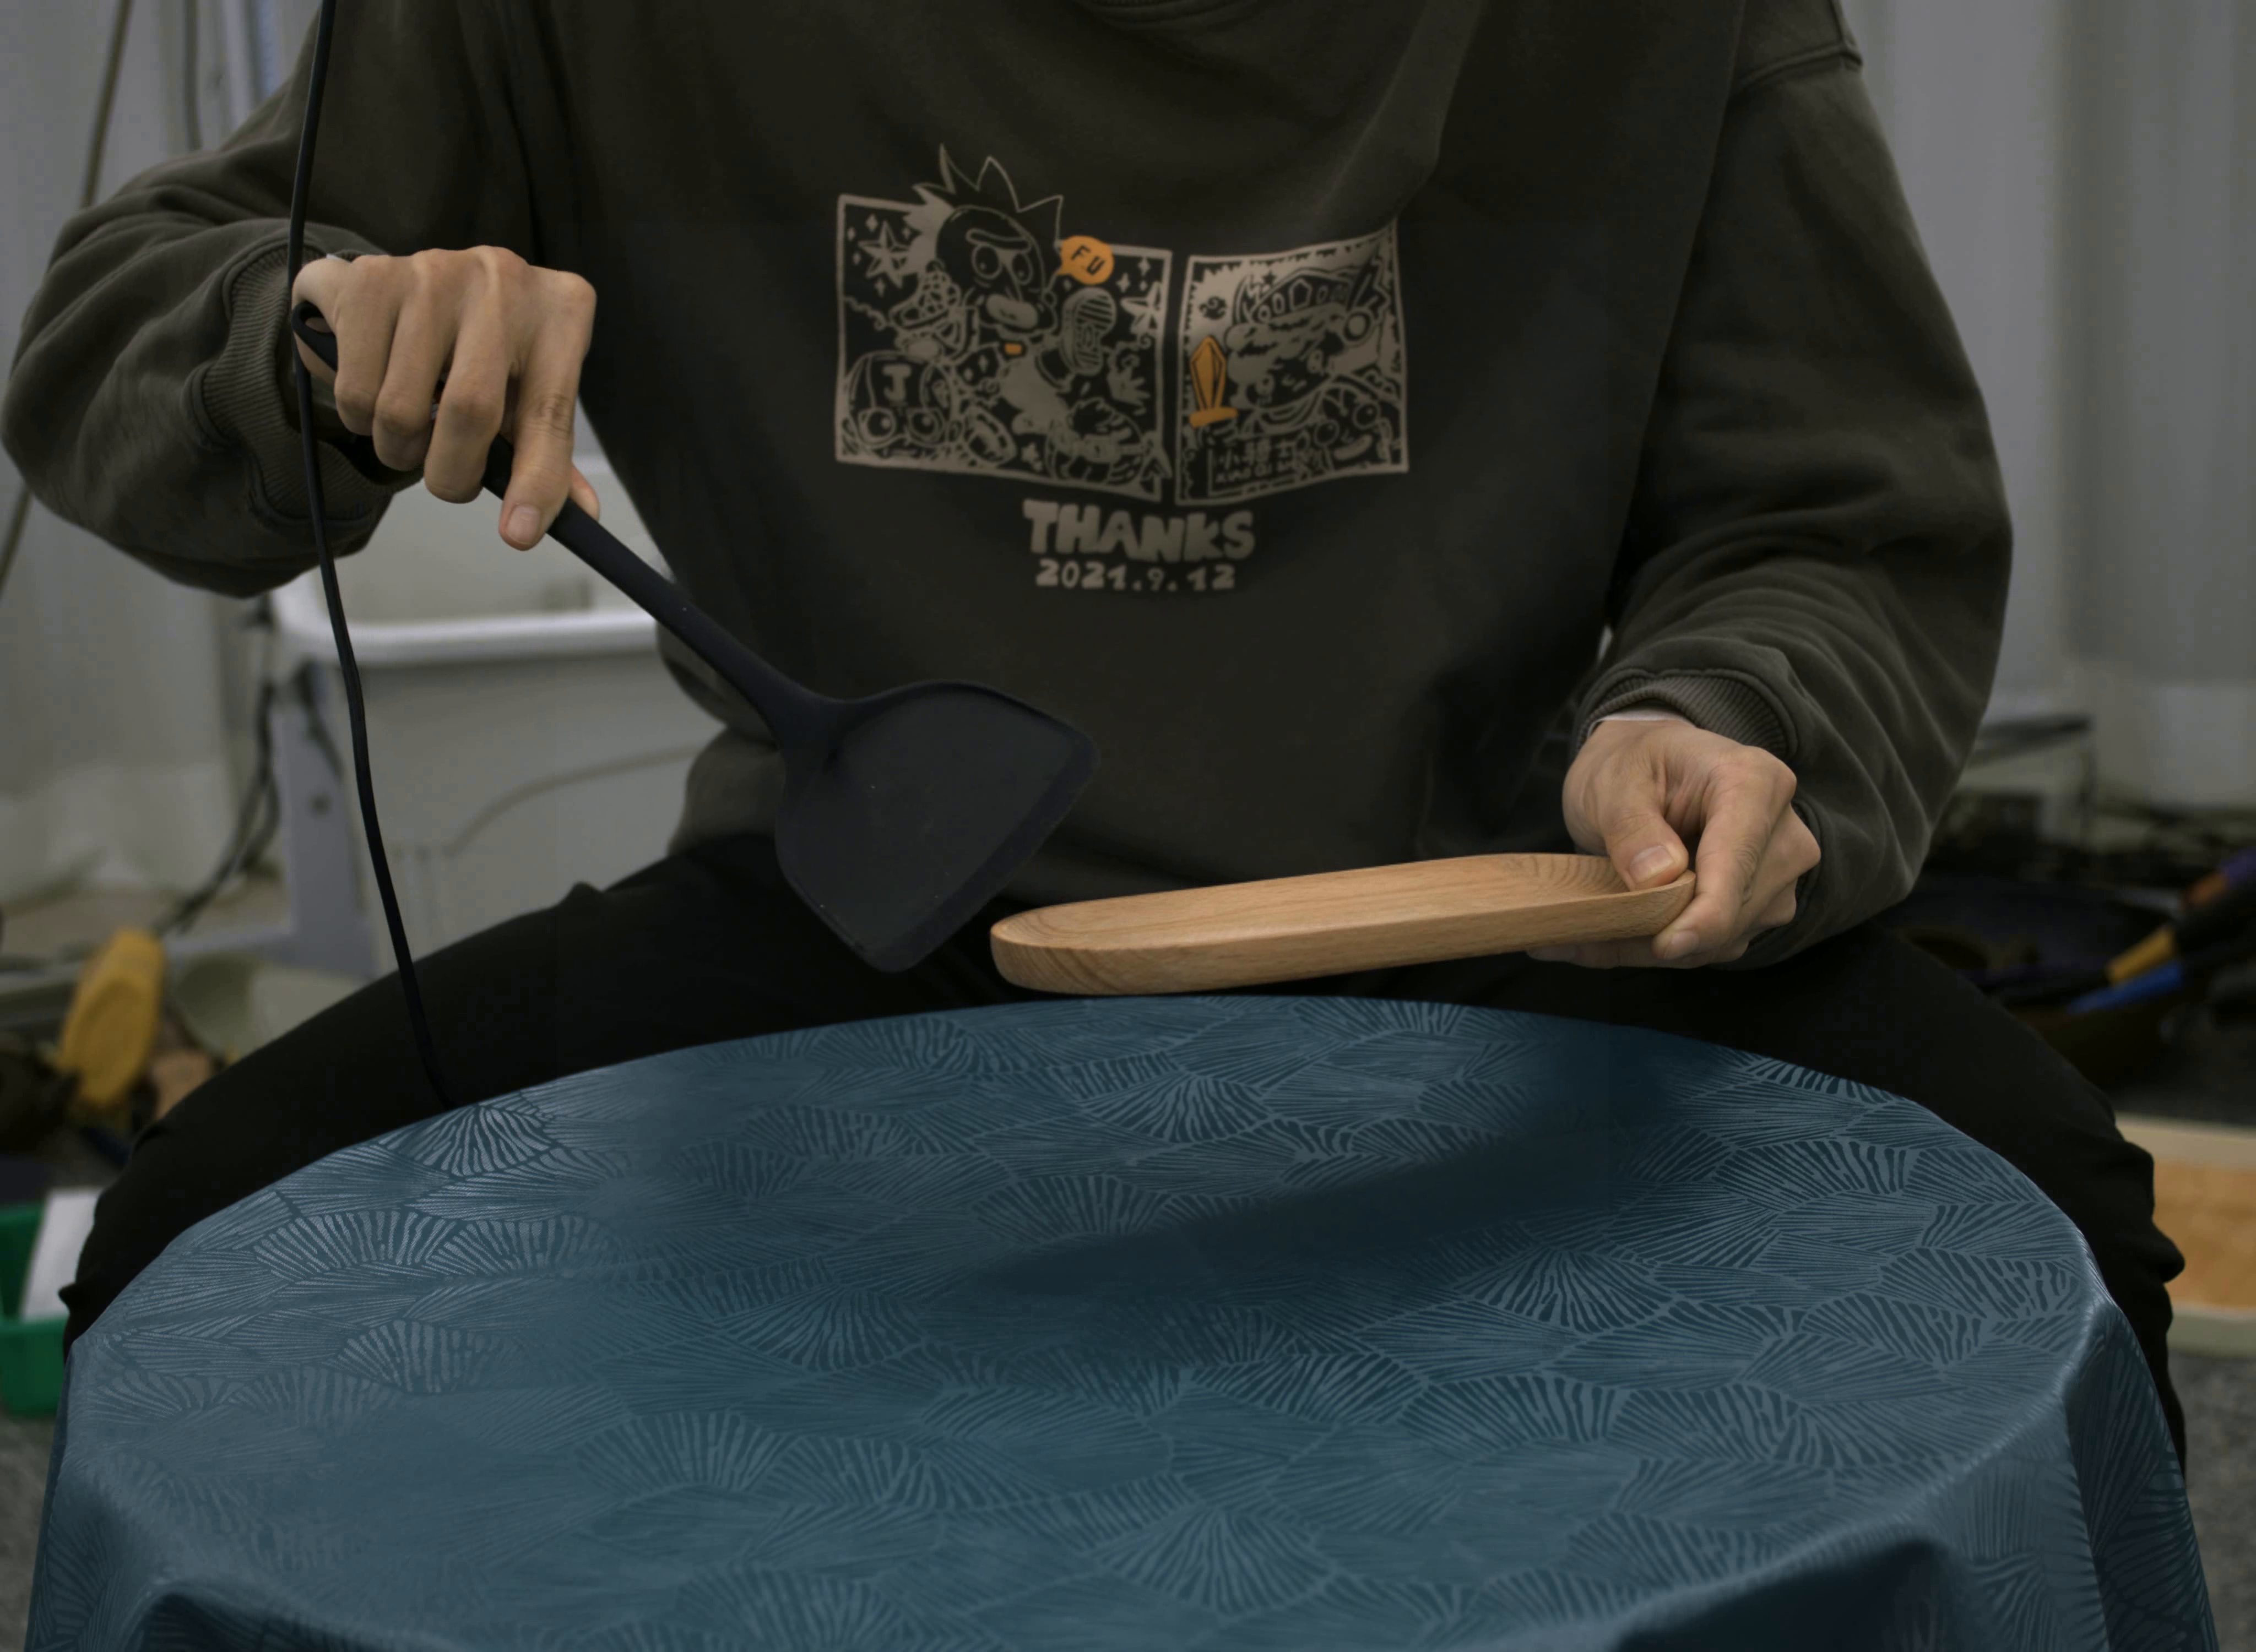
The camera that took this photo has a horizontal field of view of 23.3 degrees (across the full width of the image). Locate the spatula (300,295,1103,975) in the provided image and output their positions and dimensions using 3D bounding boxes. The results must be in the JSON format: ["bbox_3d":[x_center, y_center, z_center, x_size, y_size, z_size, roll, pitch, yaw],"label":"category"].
[{"bbox_3d":[-0.150,-0.076,1.716,0.328,0.040,0.100,40,76,20],"label":"spatula"}]

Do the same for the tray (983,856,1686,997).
[{"bbox_3d":[0.065,0.030,1.660,0.230,0.020,0.102,-7,8,-28],"label":"tray"}]
